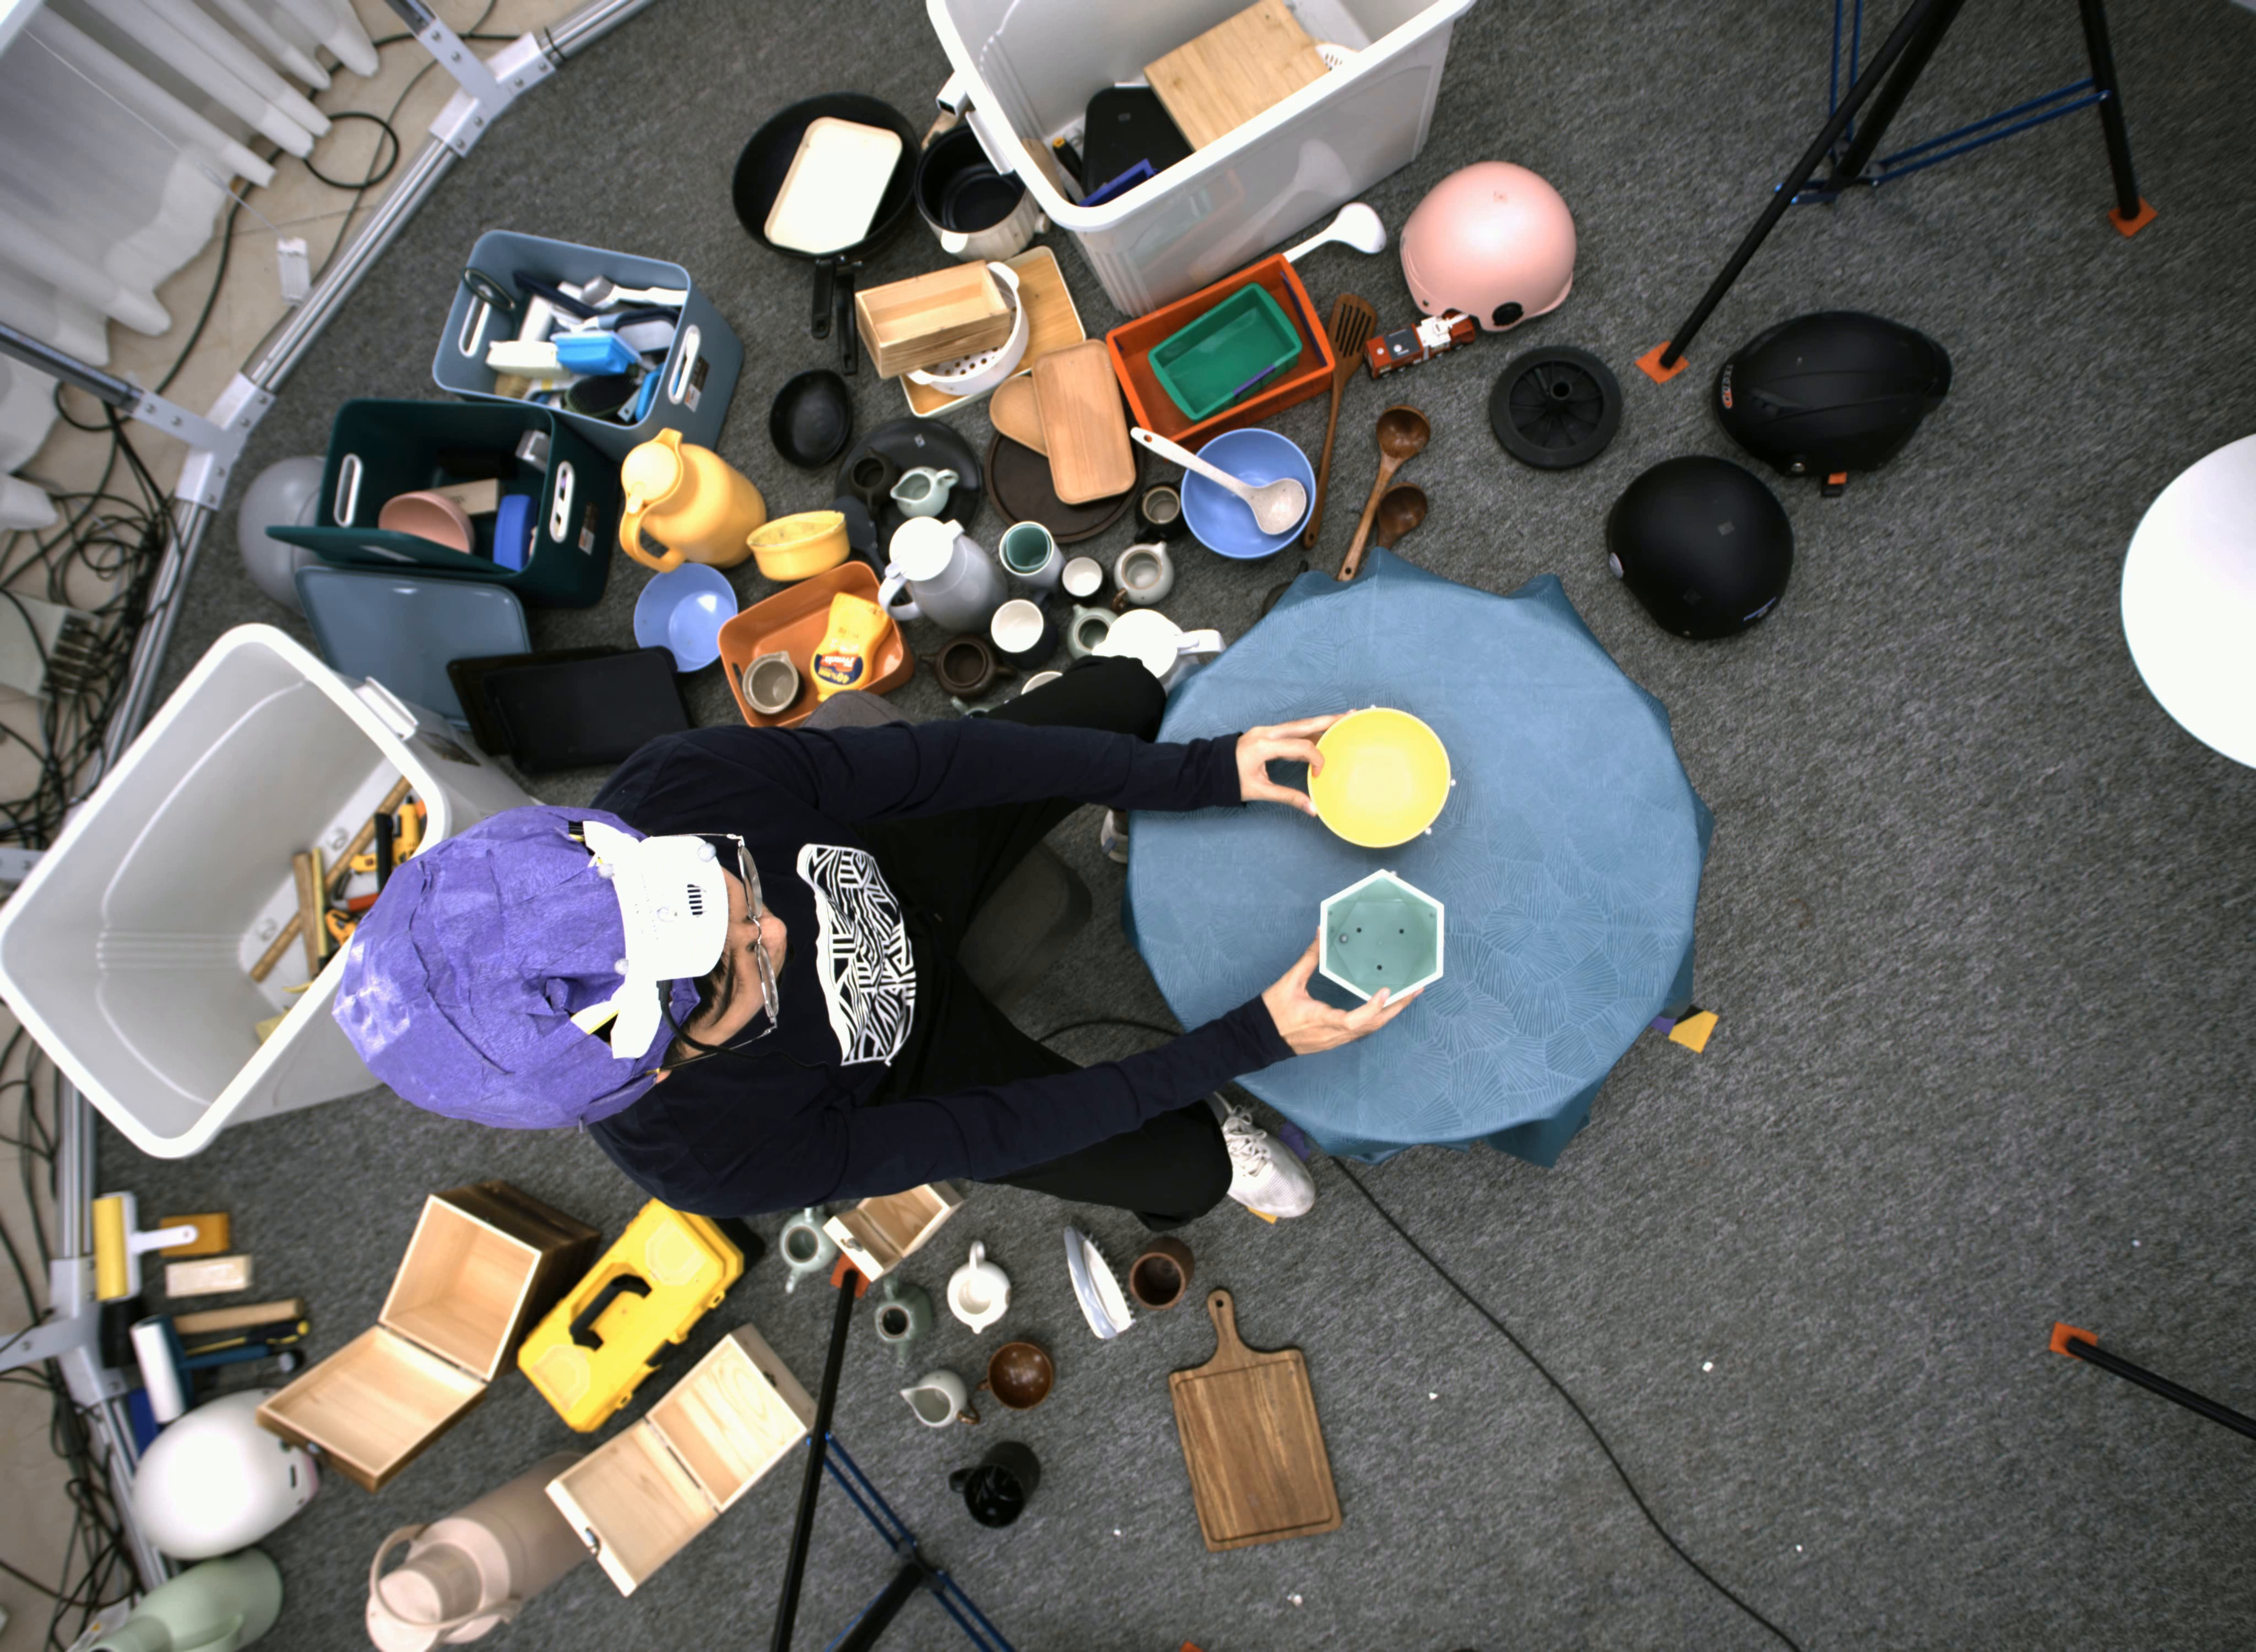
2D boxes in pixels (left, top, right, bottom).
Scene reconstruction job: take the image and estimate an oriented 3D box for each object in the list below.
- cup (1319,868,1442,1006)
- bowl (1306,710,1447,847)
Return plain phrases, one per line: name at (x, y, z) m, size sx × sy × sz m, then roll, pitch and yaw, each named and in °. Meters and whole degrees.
cup at (0.252, 0.112, 1.377) m, size 0.115 × 0.163 × 0.130 m, roll -1°, pitch 84°, yaw 11°
bowl at (0.261, -0.046, 1.437) m, size 0.146 × 0.060 × 0.144 m, roll -2°, pitch 82°, yaw 14°
